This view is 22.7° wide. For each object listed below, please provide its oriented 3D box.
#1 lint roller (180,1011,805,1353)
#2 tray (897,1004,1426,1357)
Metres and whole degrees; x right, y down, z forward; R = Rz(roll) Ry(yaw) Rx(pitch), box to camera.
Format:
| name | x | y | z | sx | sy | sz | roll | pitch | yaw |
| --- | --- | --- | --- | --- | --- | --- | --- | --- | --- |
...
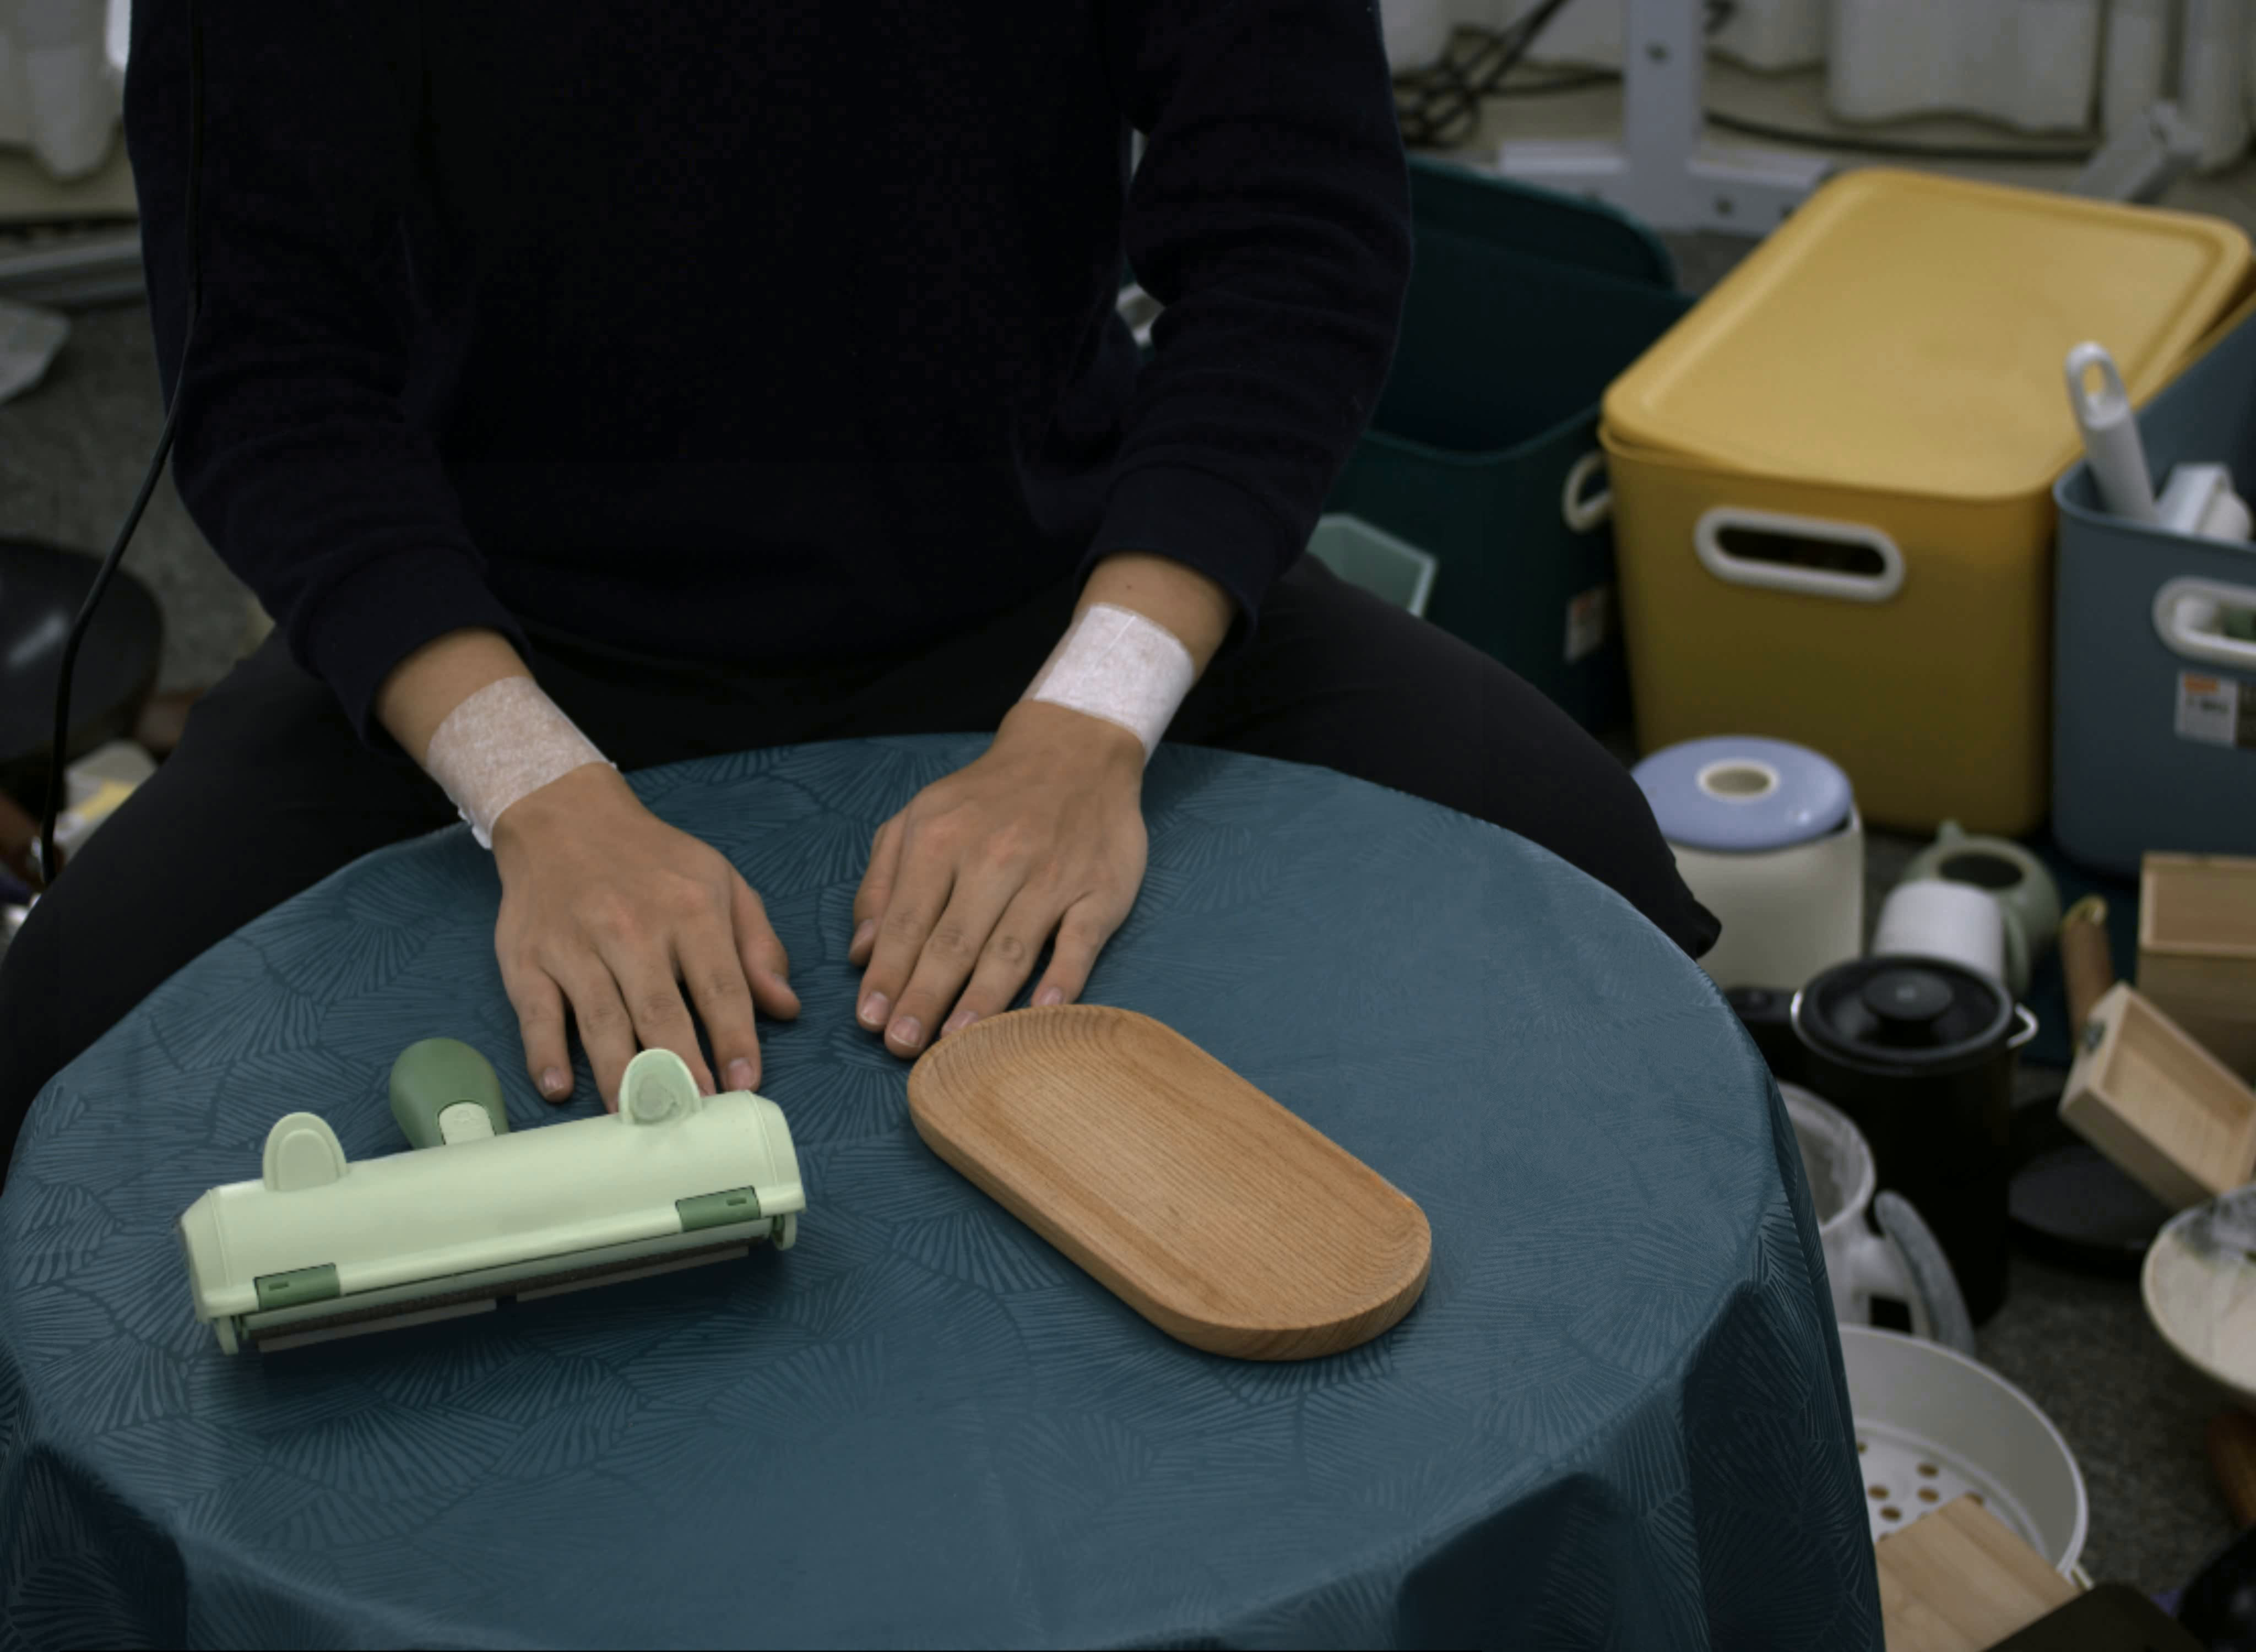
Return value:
| name | x | y | z | sx | sy | sz | roll | pitch | yaw |
| --- | --- | --- | --- | --- | --- | --- | --- | --- | --- |
| lint roller | -0.220 | 0.092 | 1.848 | 0.199 | 0.081 | 0.185 | -10 | 34 | -14 |
| tray | 0.009 | 0.115 | 1.856 | 0.102 | 0.020 | 0.231 | -19 | 30 | -29 |
